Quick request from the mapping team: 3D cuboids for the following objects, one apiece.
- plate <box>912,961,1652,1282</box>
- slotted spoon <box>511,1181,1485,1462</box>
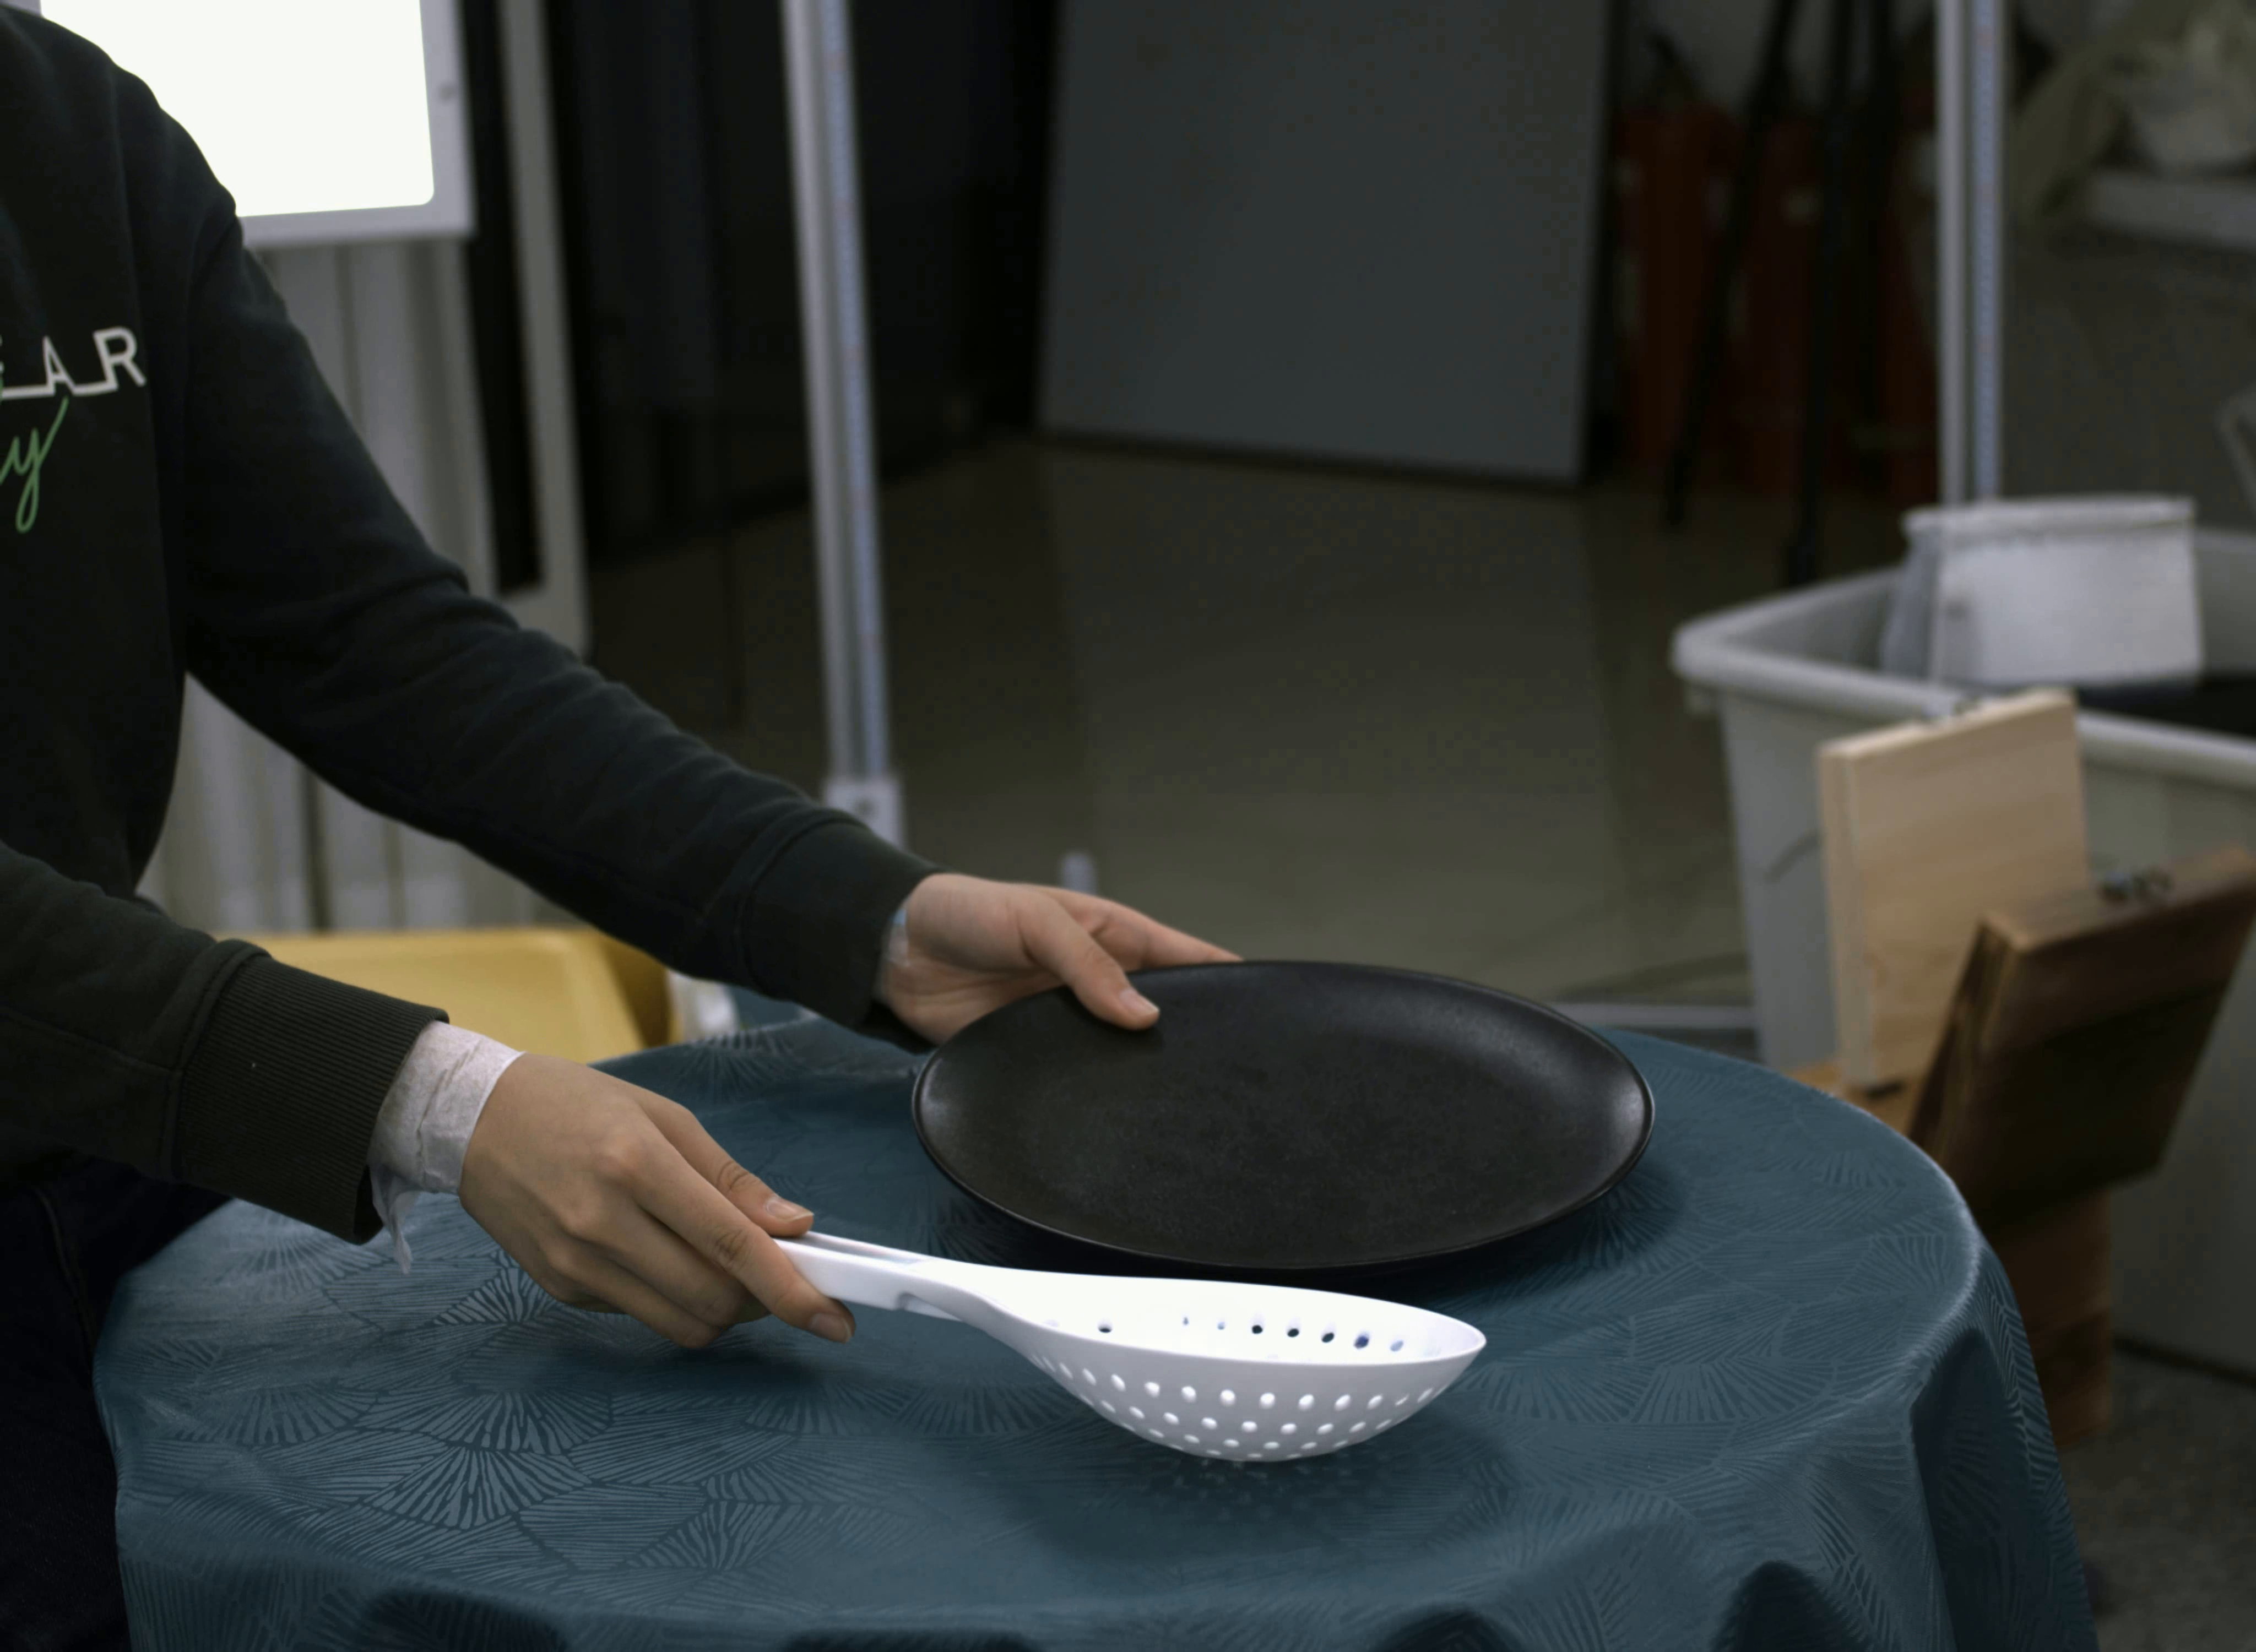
[{"bbox_3d":[0.050,0.099,1.749,0.241,0.023,0.245,-1,21,-1],"label":"plate"},{"bbox_3d":[-0.051,0.136,1.586,0.352,0.046,0.133,13,8,38],"label":"slotted spoon"}]
